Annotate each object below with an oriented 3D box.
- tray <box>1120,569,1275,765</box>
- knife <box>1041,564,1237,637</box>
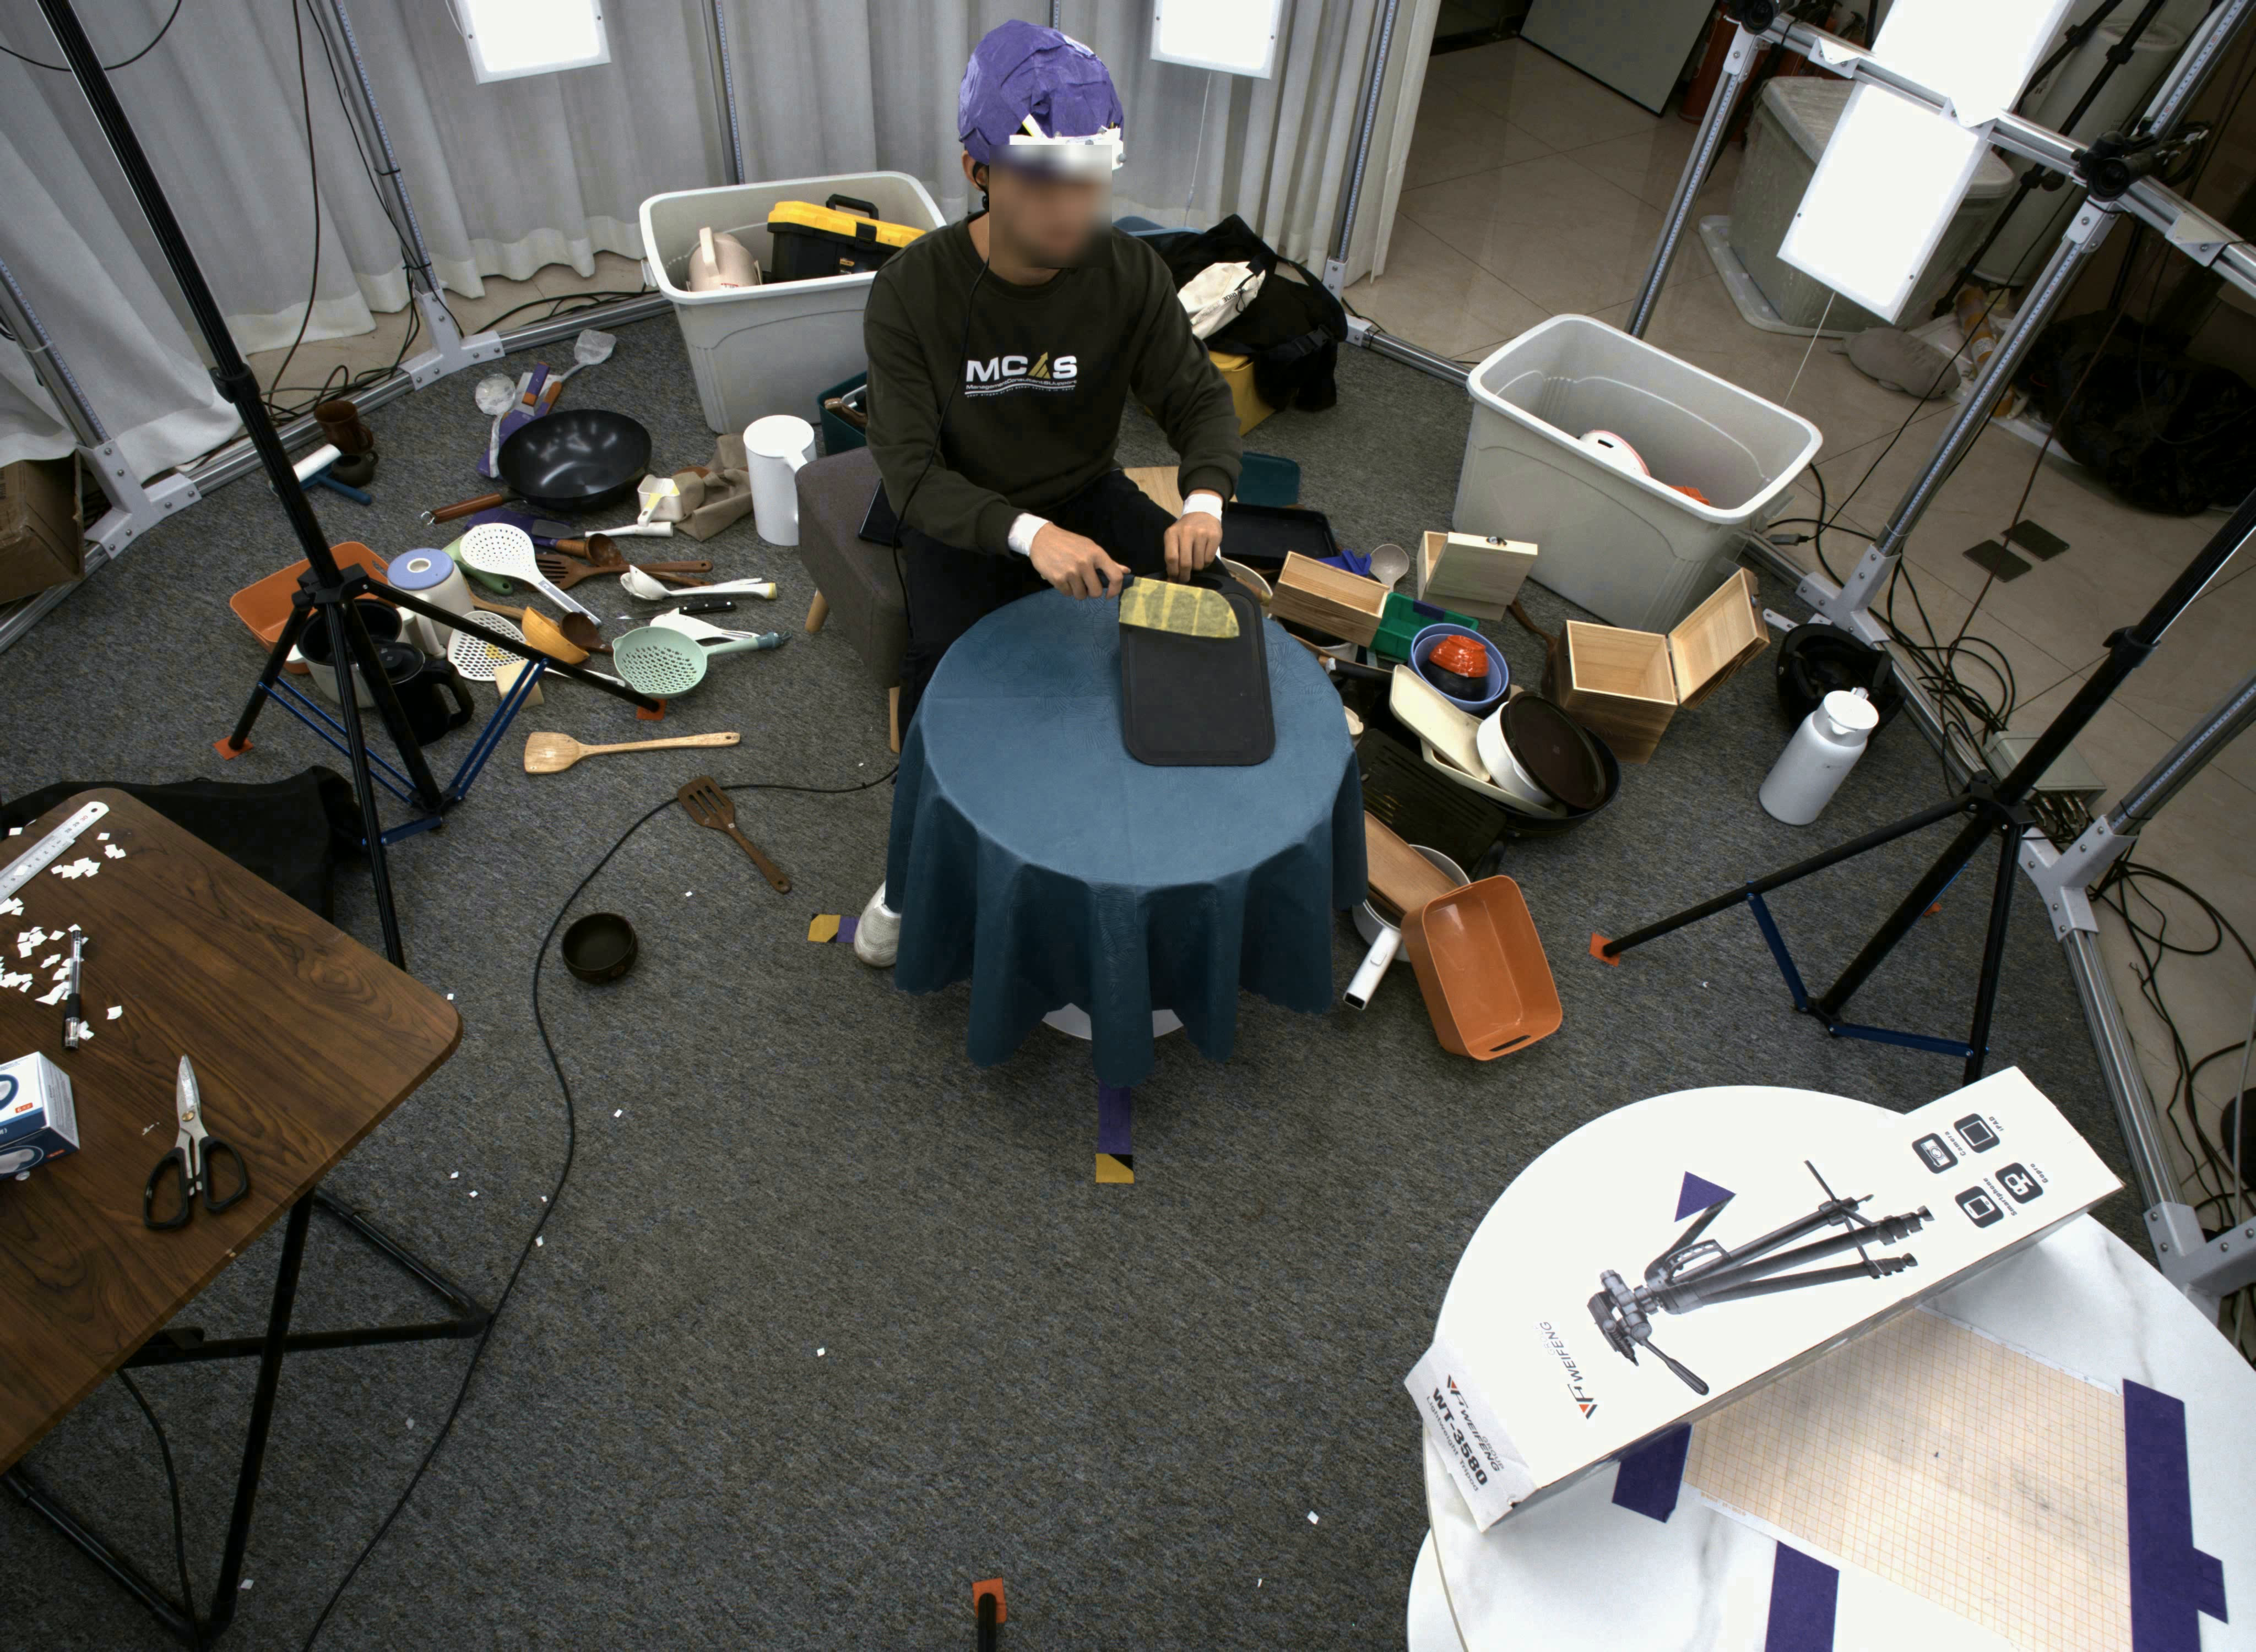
[{"bbox_3d":[0.096,-0.231,1.818,0.211,0.009,0.332,0,63,-5],"label":"tray"},{"bbox_3d":[0.015,-0.319,1.821,0.290,0.079,0.028,15,28,5],"label":"knife"}]
